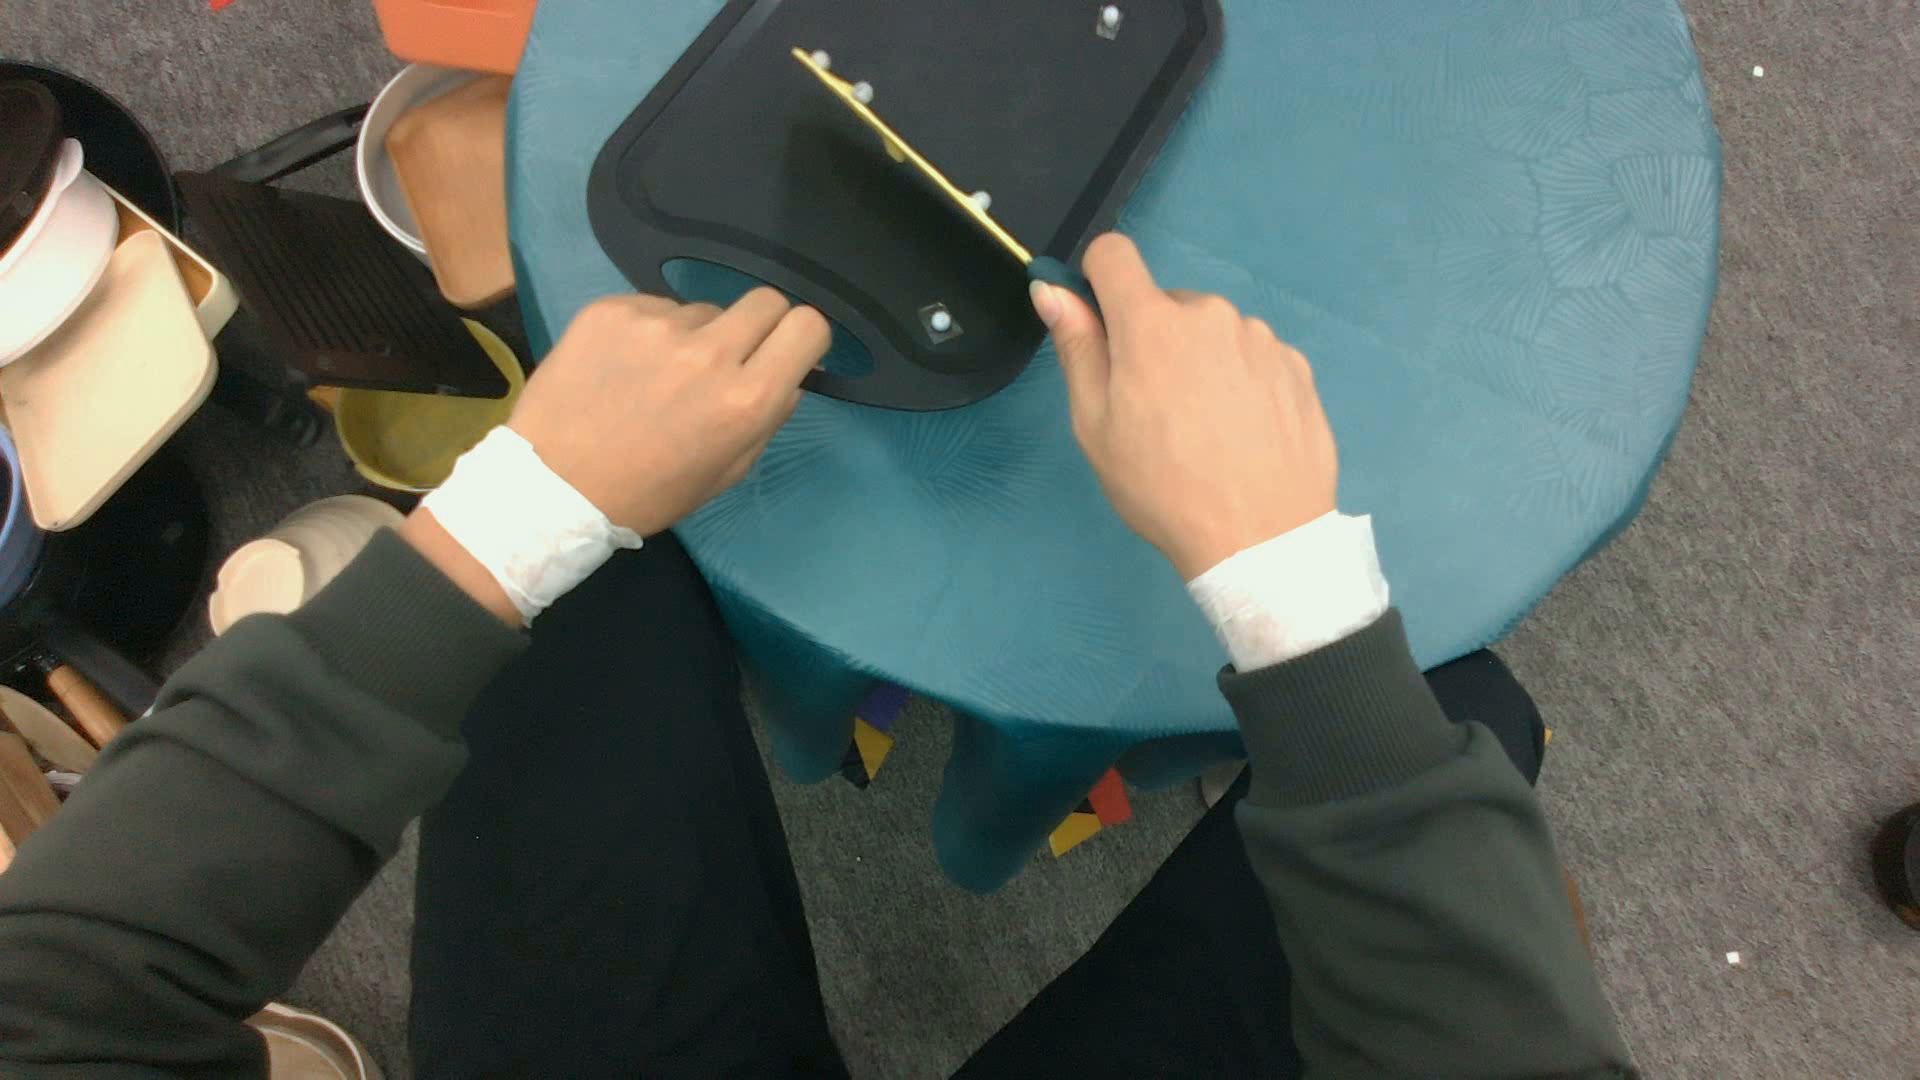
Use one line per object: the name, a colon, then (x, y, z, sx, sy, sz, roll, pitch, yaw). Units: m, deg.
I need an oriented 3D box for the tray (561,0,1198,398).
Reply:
tray: (-0.028, -0.205, 0.634, 0.211, 0.010, 0.327, 29, 62, 4)

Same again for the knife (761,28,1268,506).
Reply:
knife: (0.016, -0.118, 0.567, 0.289, 0.081, 0.027, 45, 101, 10)
